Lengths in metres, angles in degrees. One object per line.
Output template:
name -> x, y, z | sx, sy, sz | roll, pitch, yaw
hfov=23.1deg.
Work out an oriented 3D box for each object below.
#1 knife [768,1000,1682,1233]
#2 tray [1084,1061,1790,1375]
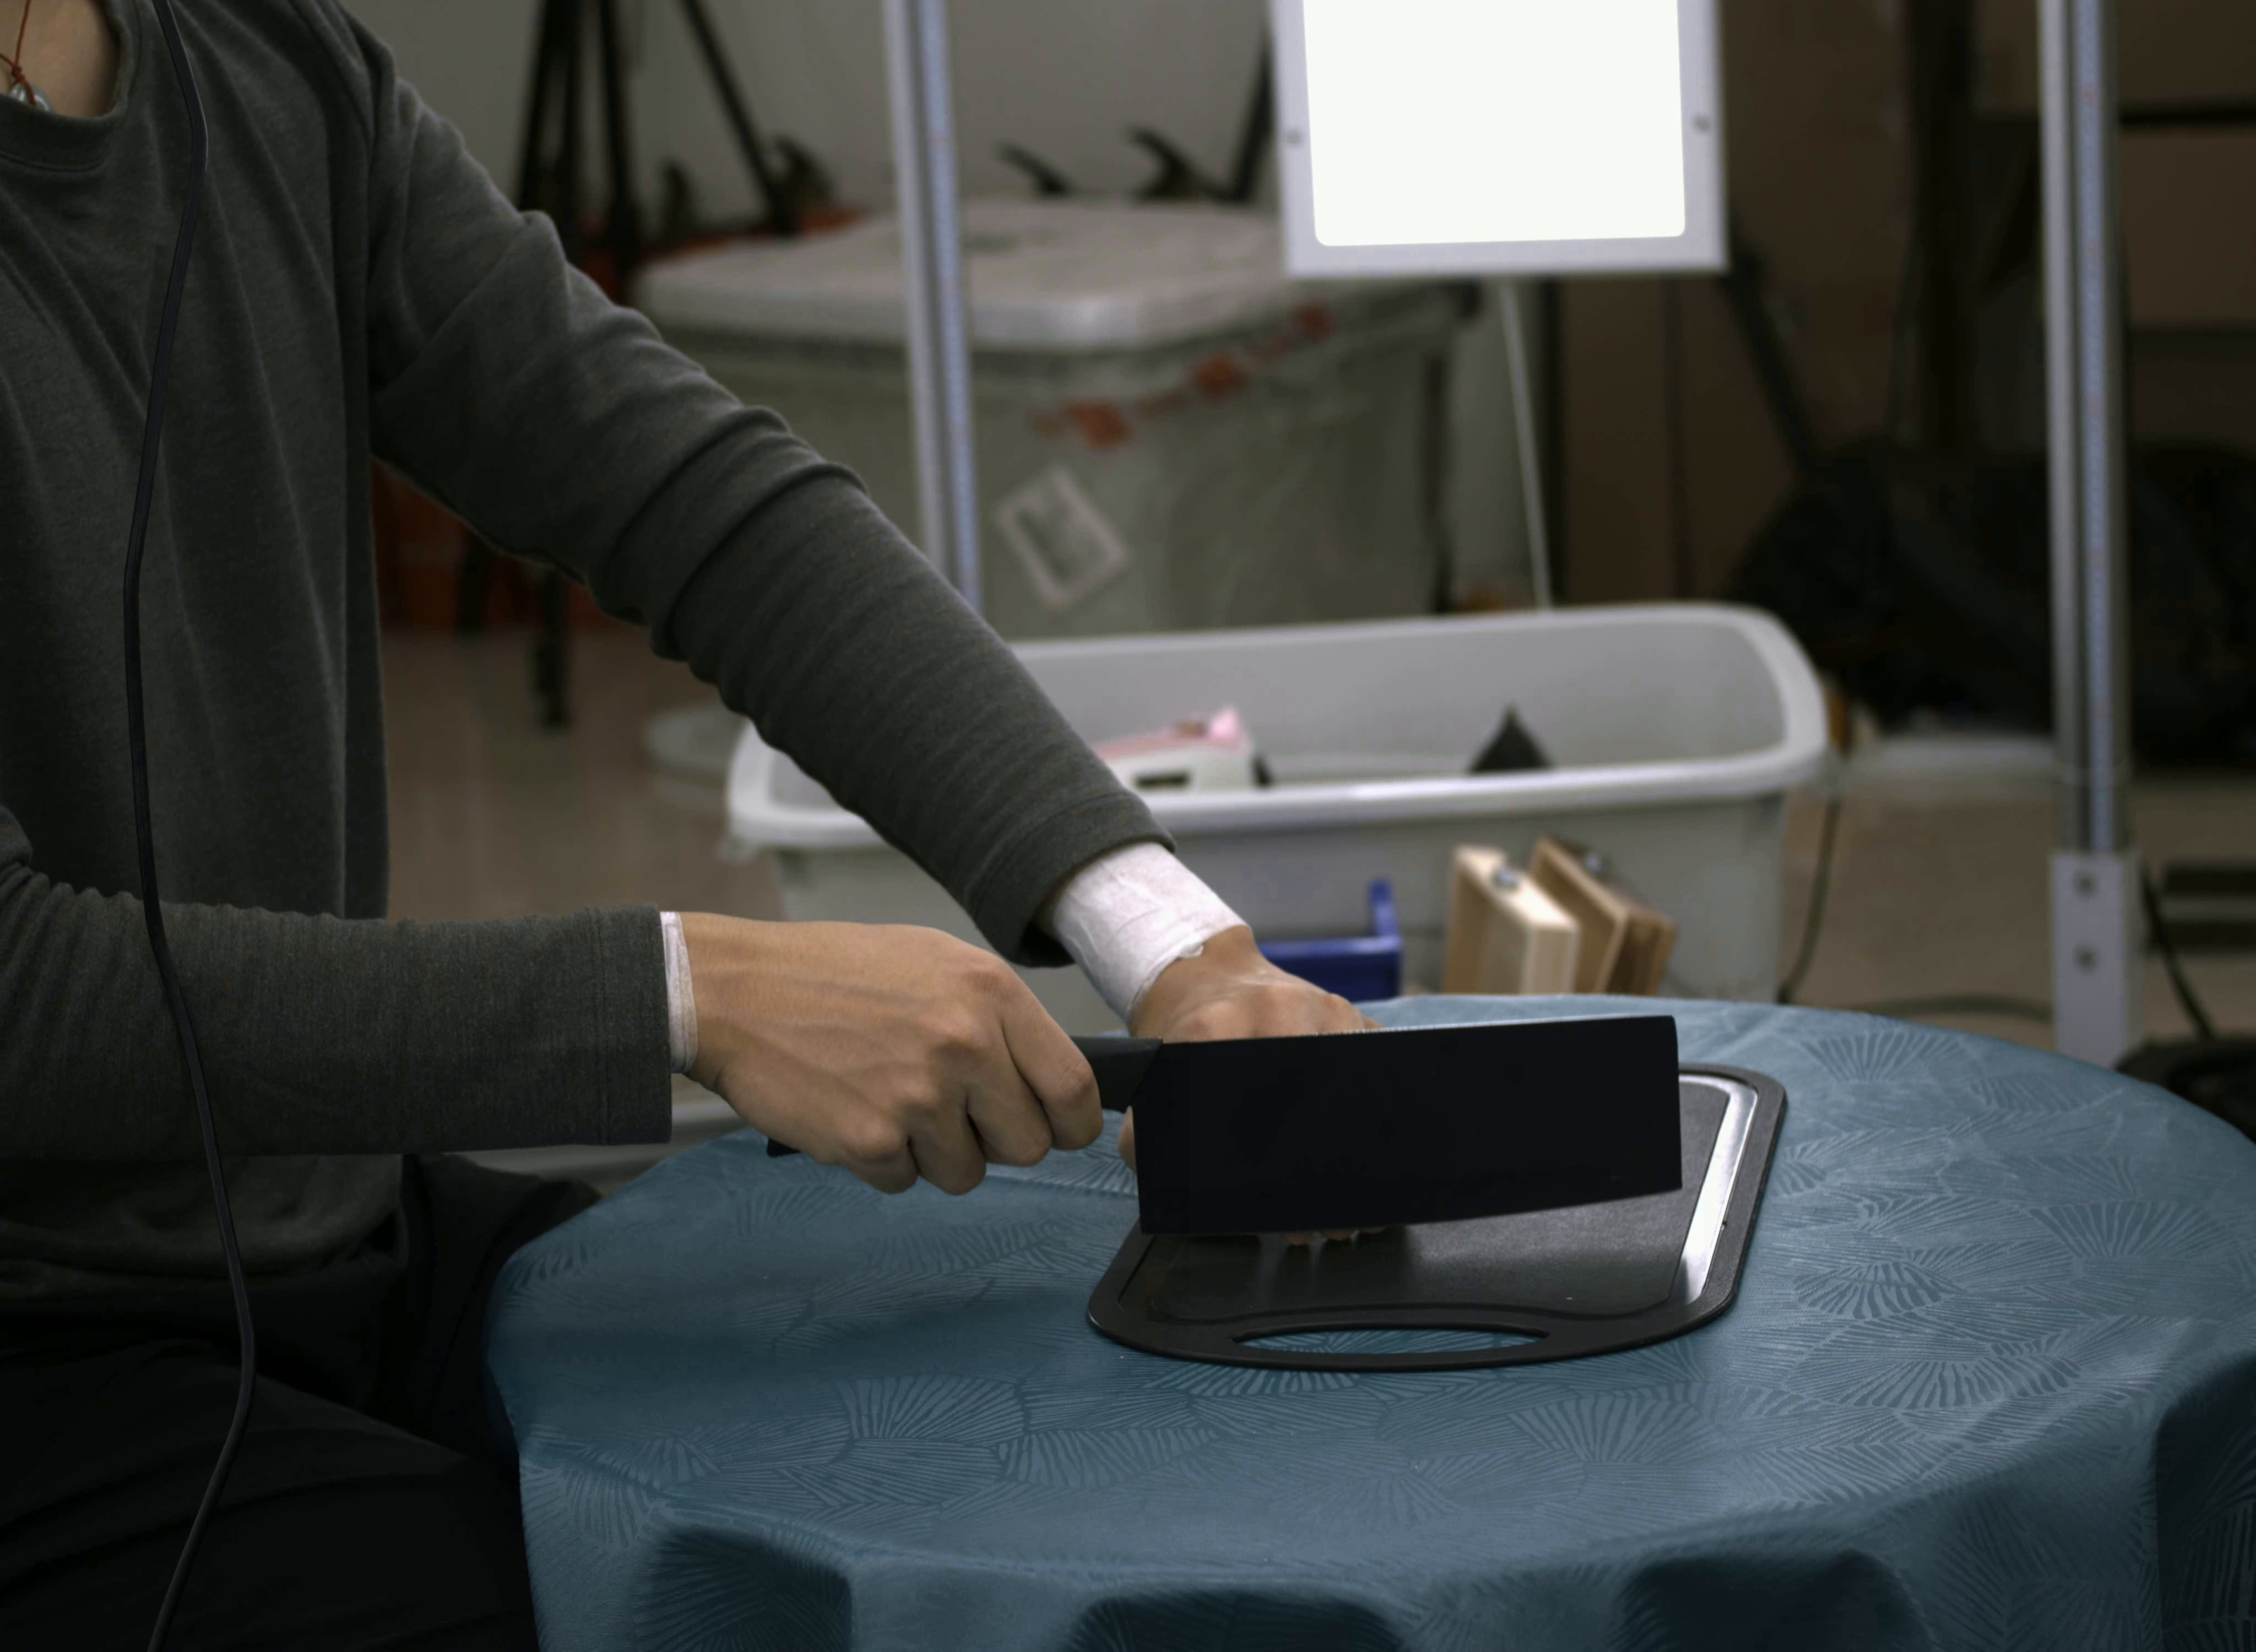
knife -> 0.032, 0.095, 1.807 | 0.302, 0.081, 0.021 | 0, 9, 2
tray -> 0.109, 0.126, 1.850 | 0.213, 0.010, 0.321 | -2, 14, 14
